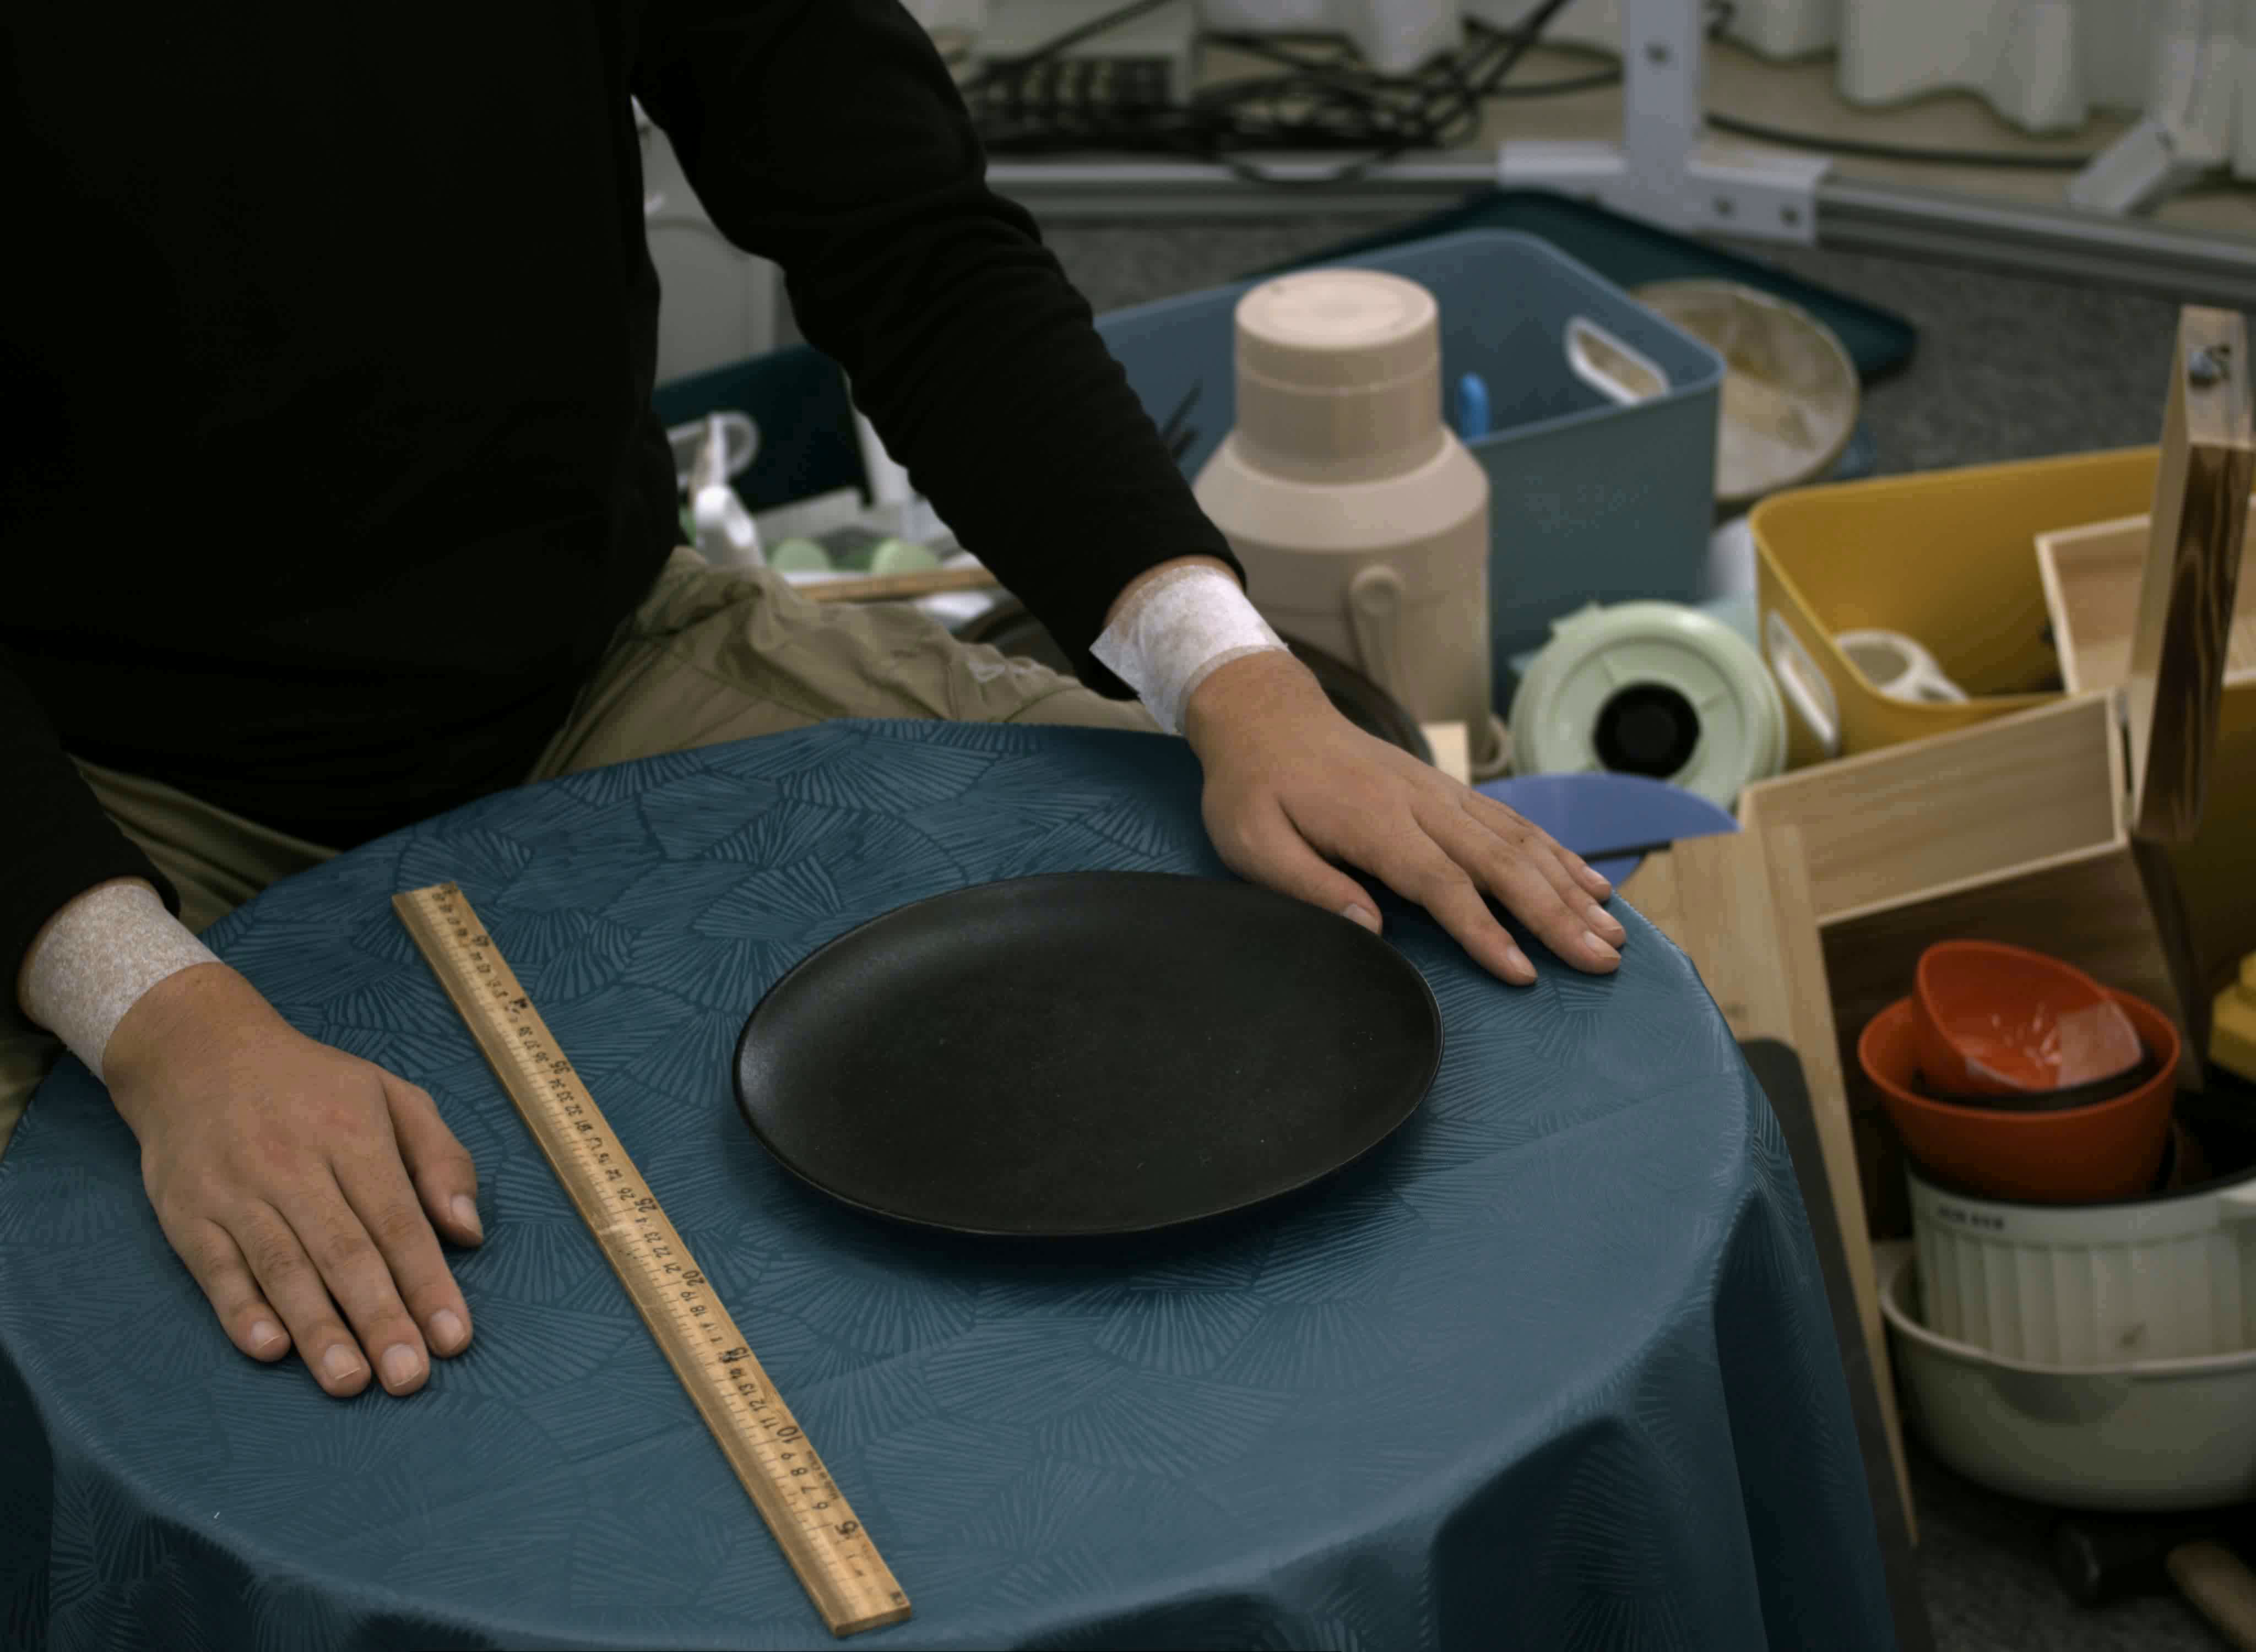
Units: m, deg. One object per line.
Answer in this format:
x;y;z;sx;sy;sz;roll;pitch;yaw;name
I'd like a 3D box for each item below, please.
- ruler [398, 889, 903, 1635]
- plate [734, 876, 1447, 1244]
-0.166;0.130;1.856;0.027;0.006;0.504;-11;28;-18;ruler
-0.012;0.083;1.912;0.243;0.023;0.248;-2;27;2;plate
